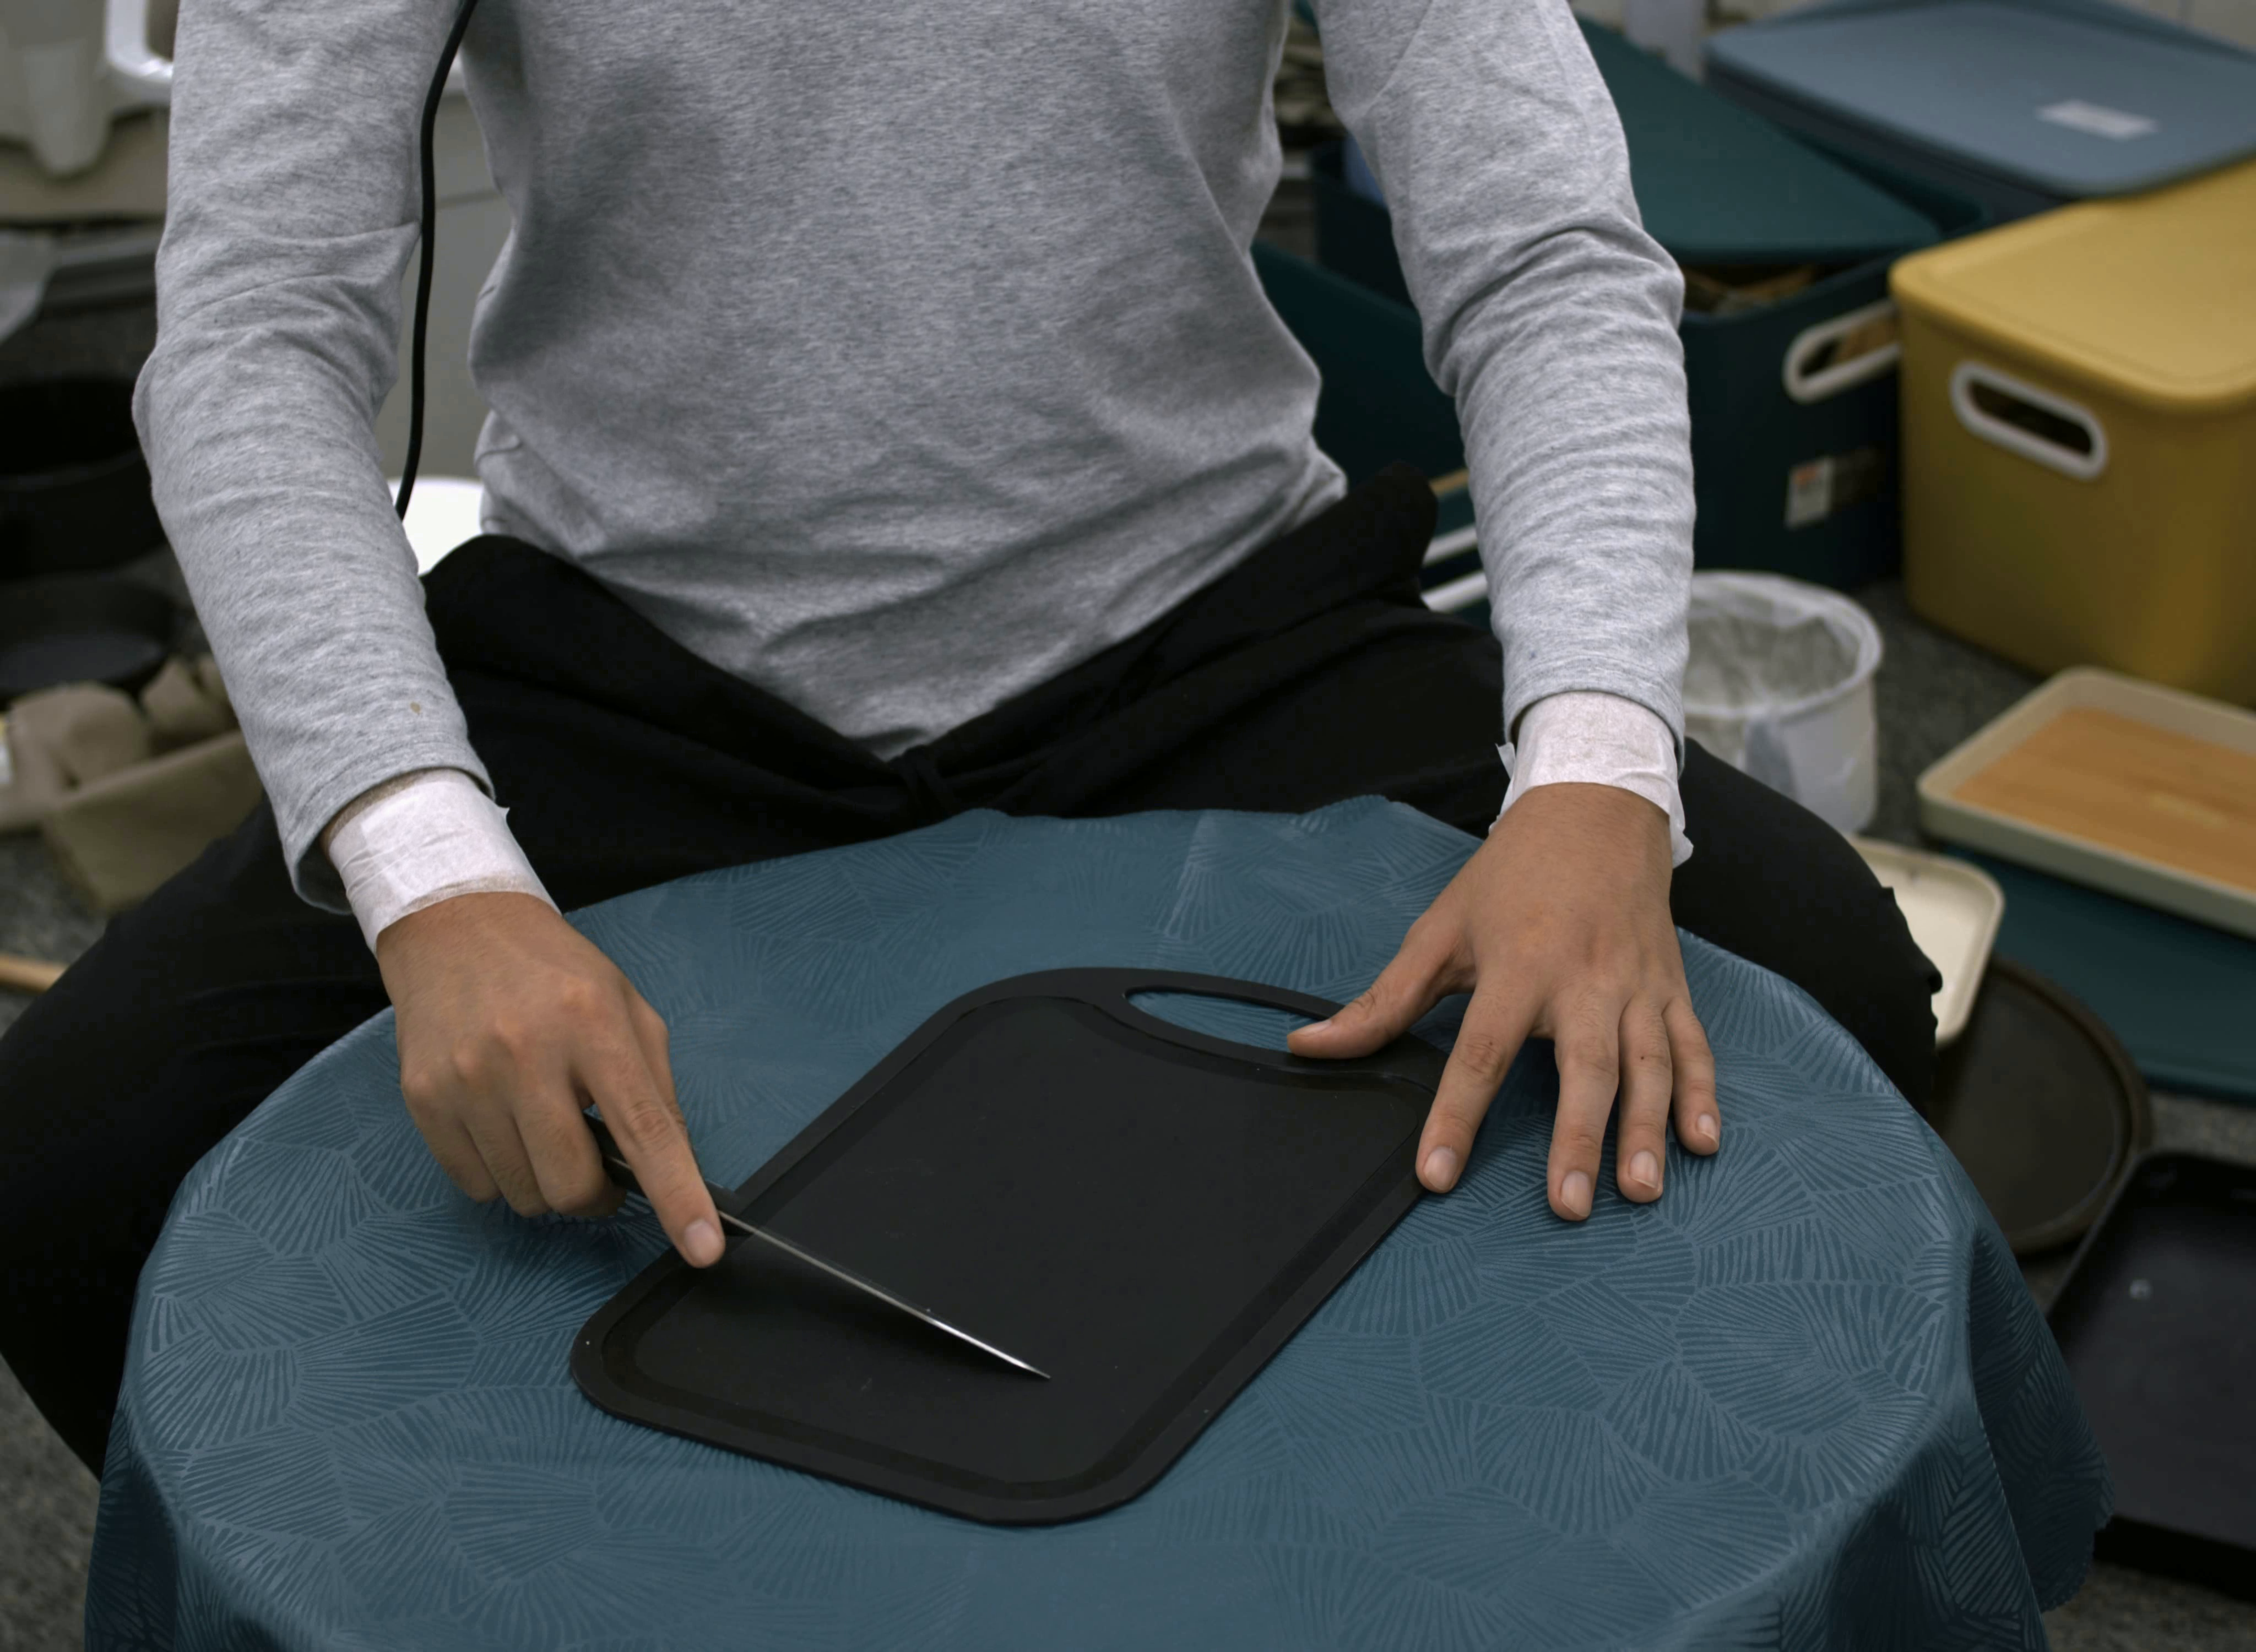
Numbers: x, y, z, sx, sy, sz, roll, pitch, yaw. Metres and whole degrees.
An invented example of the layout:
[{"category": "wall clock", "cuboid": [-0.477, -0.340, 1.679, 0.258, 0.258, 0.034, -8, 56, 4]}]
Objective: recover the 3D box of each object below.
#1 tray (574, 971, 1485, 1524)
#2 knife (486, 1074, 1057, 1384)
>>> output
[{"category": "tray", "cuboid": [-0.024, 0.127, 1.848, 0.210, 0.009, 0.330, 13, 31, 27]}, {"category": "knife", "cuboid": [-0.119, 0.131, 1.815, 0.238, 0.016, 0.024, 25, 5, 28]}]
